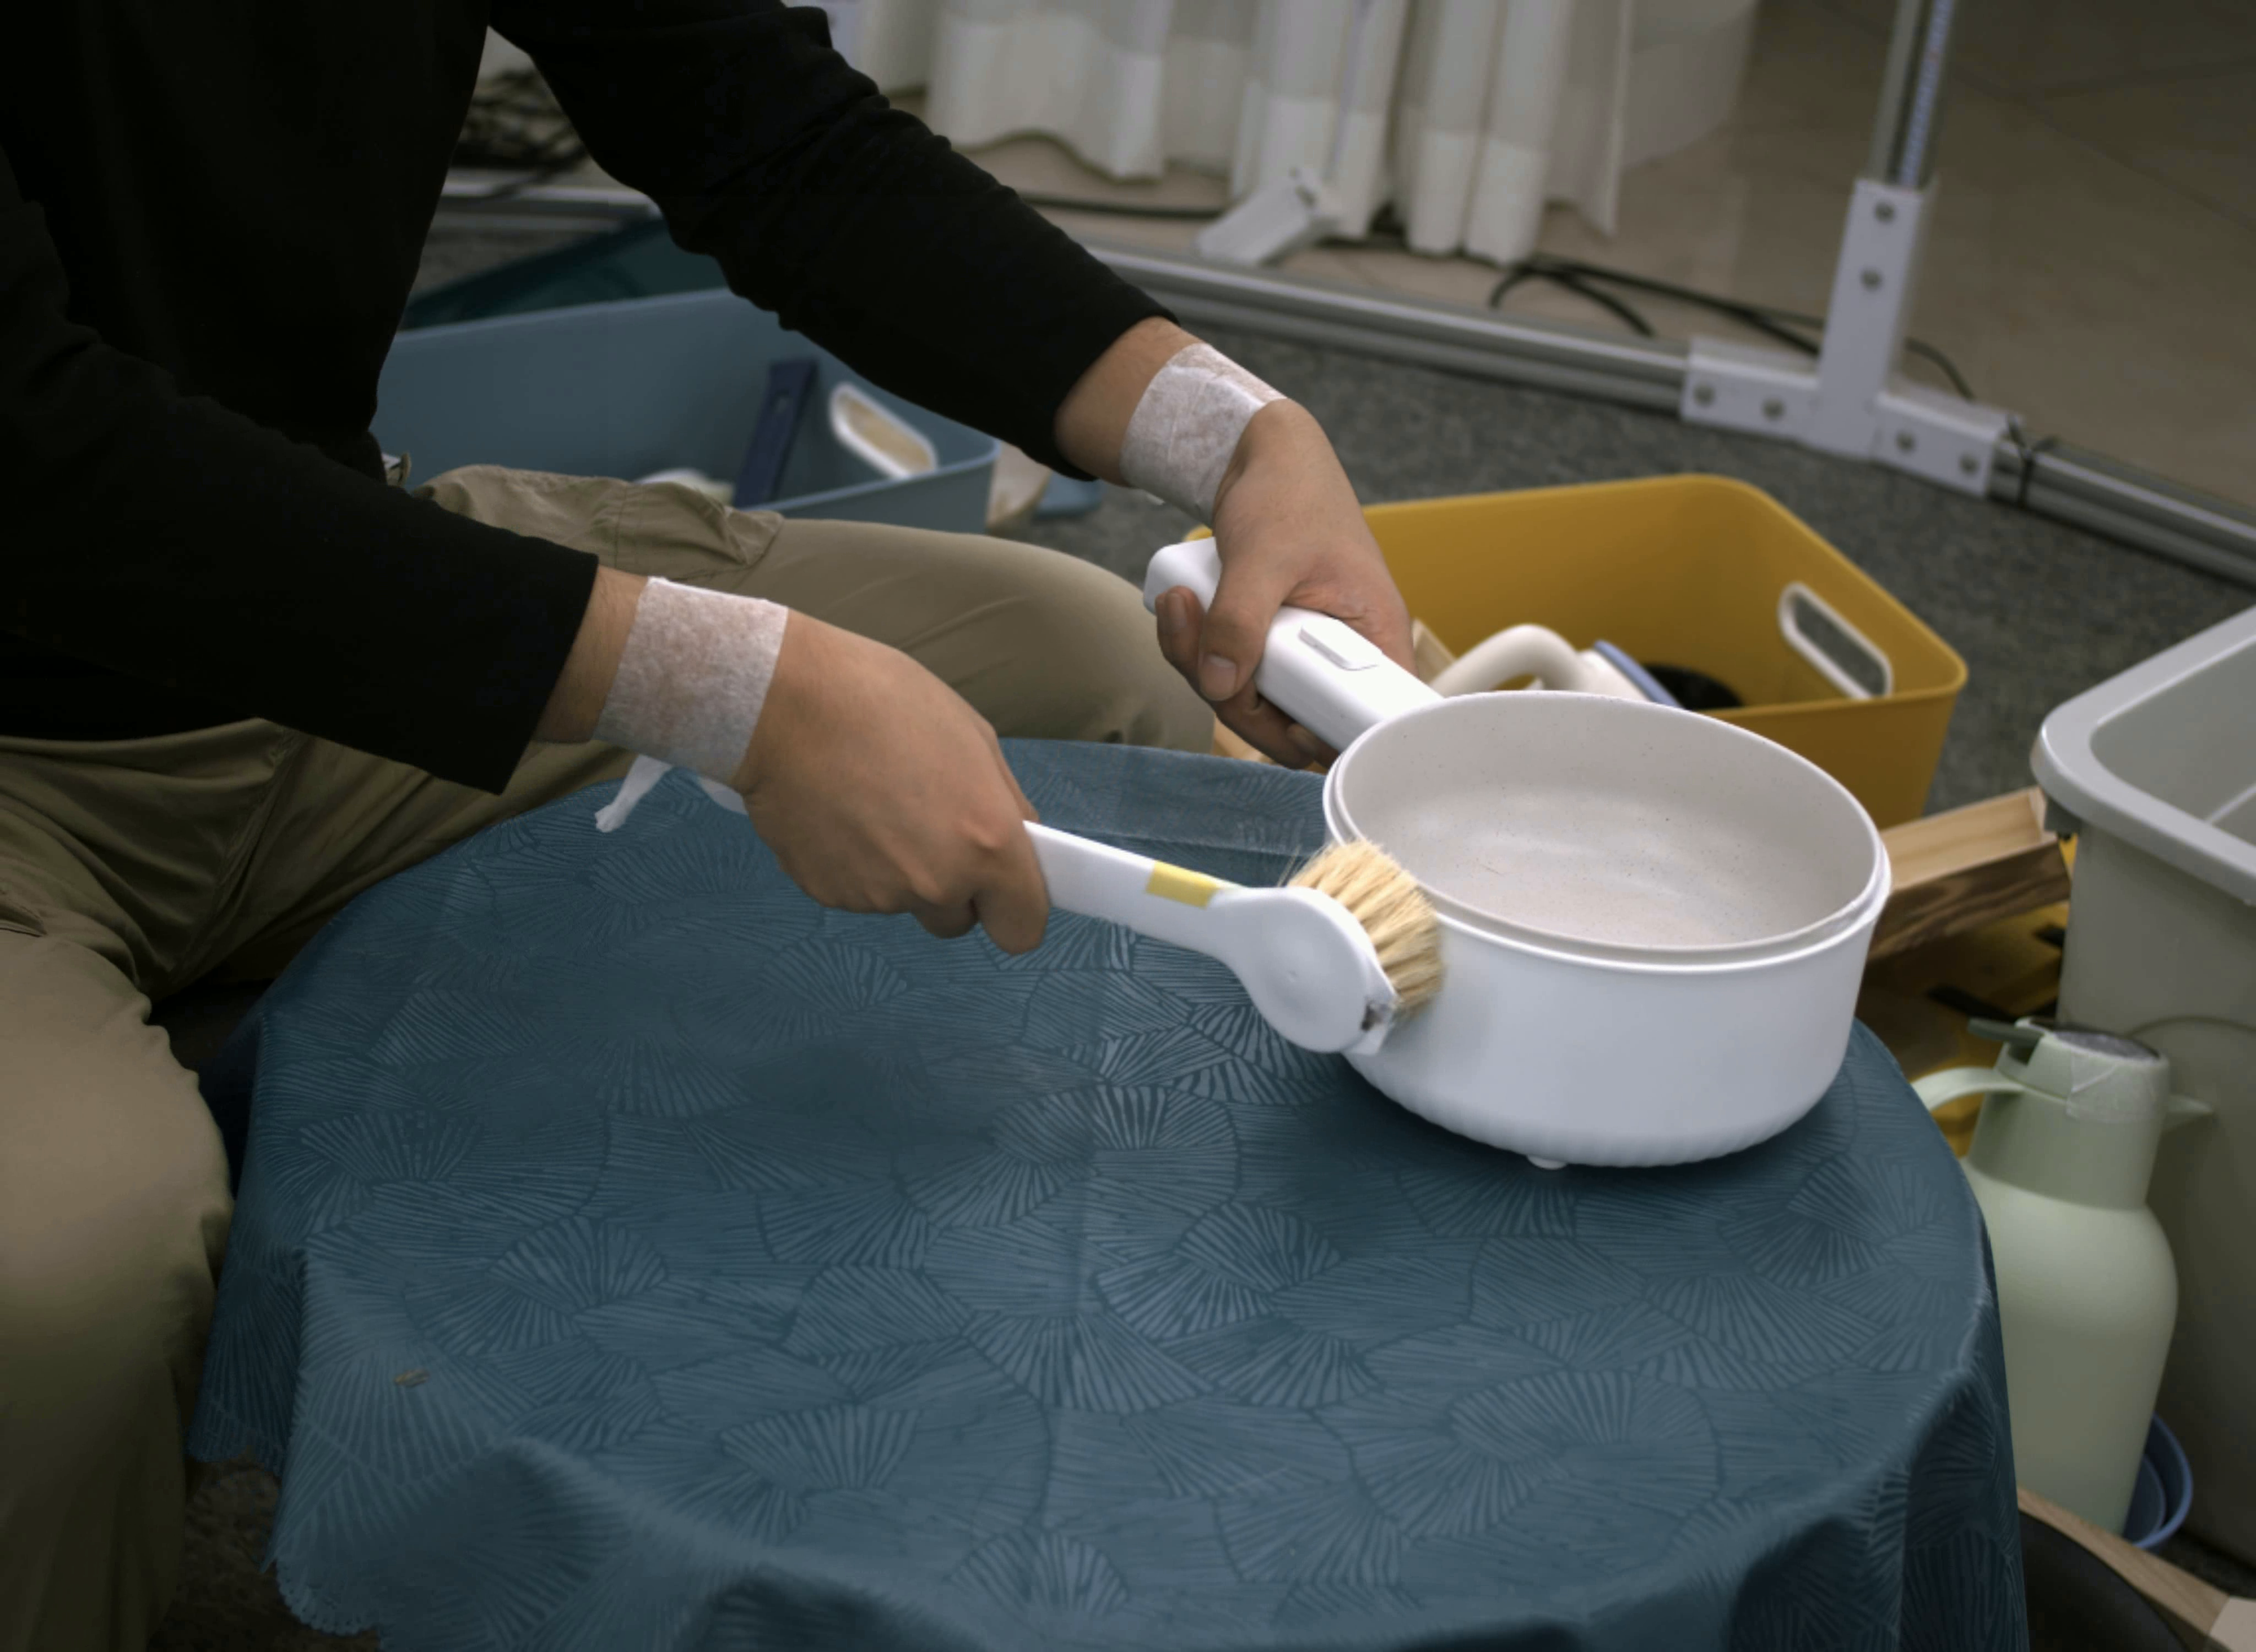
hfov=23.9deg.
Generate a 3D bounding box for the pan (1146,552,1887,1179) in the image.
[{"bbox_3d":[0.119,0.012,1.947,0.200,0.102,0.358,-15,33,-32],"label":"pan"}]

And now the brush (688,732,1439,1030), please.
[{"bbox_3d":[-0.020,0.006,1.829,0.267,0.068,0.056,18,32,13],"label":"brush"}]
